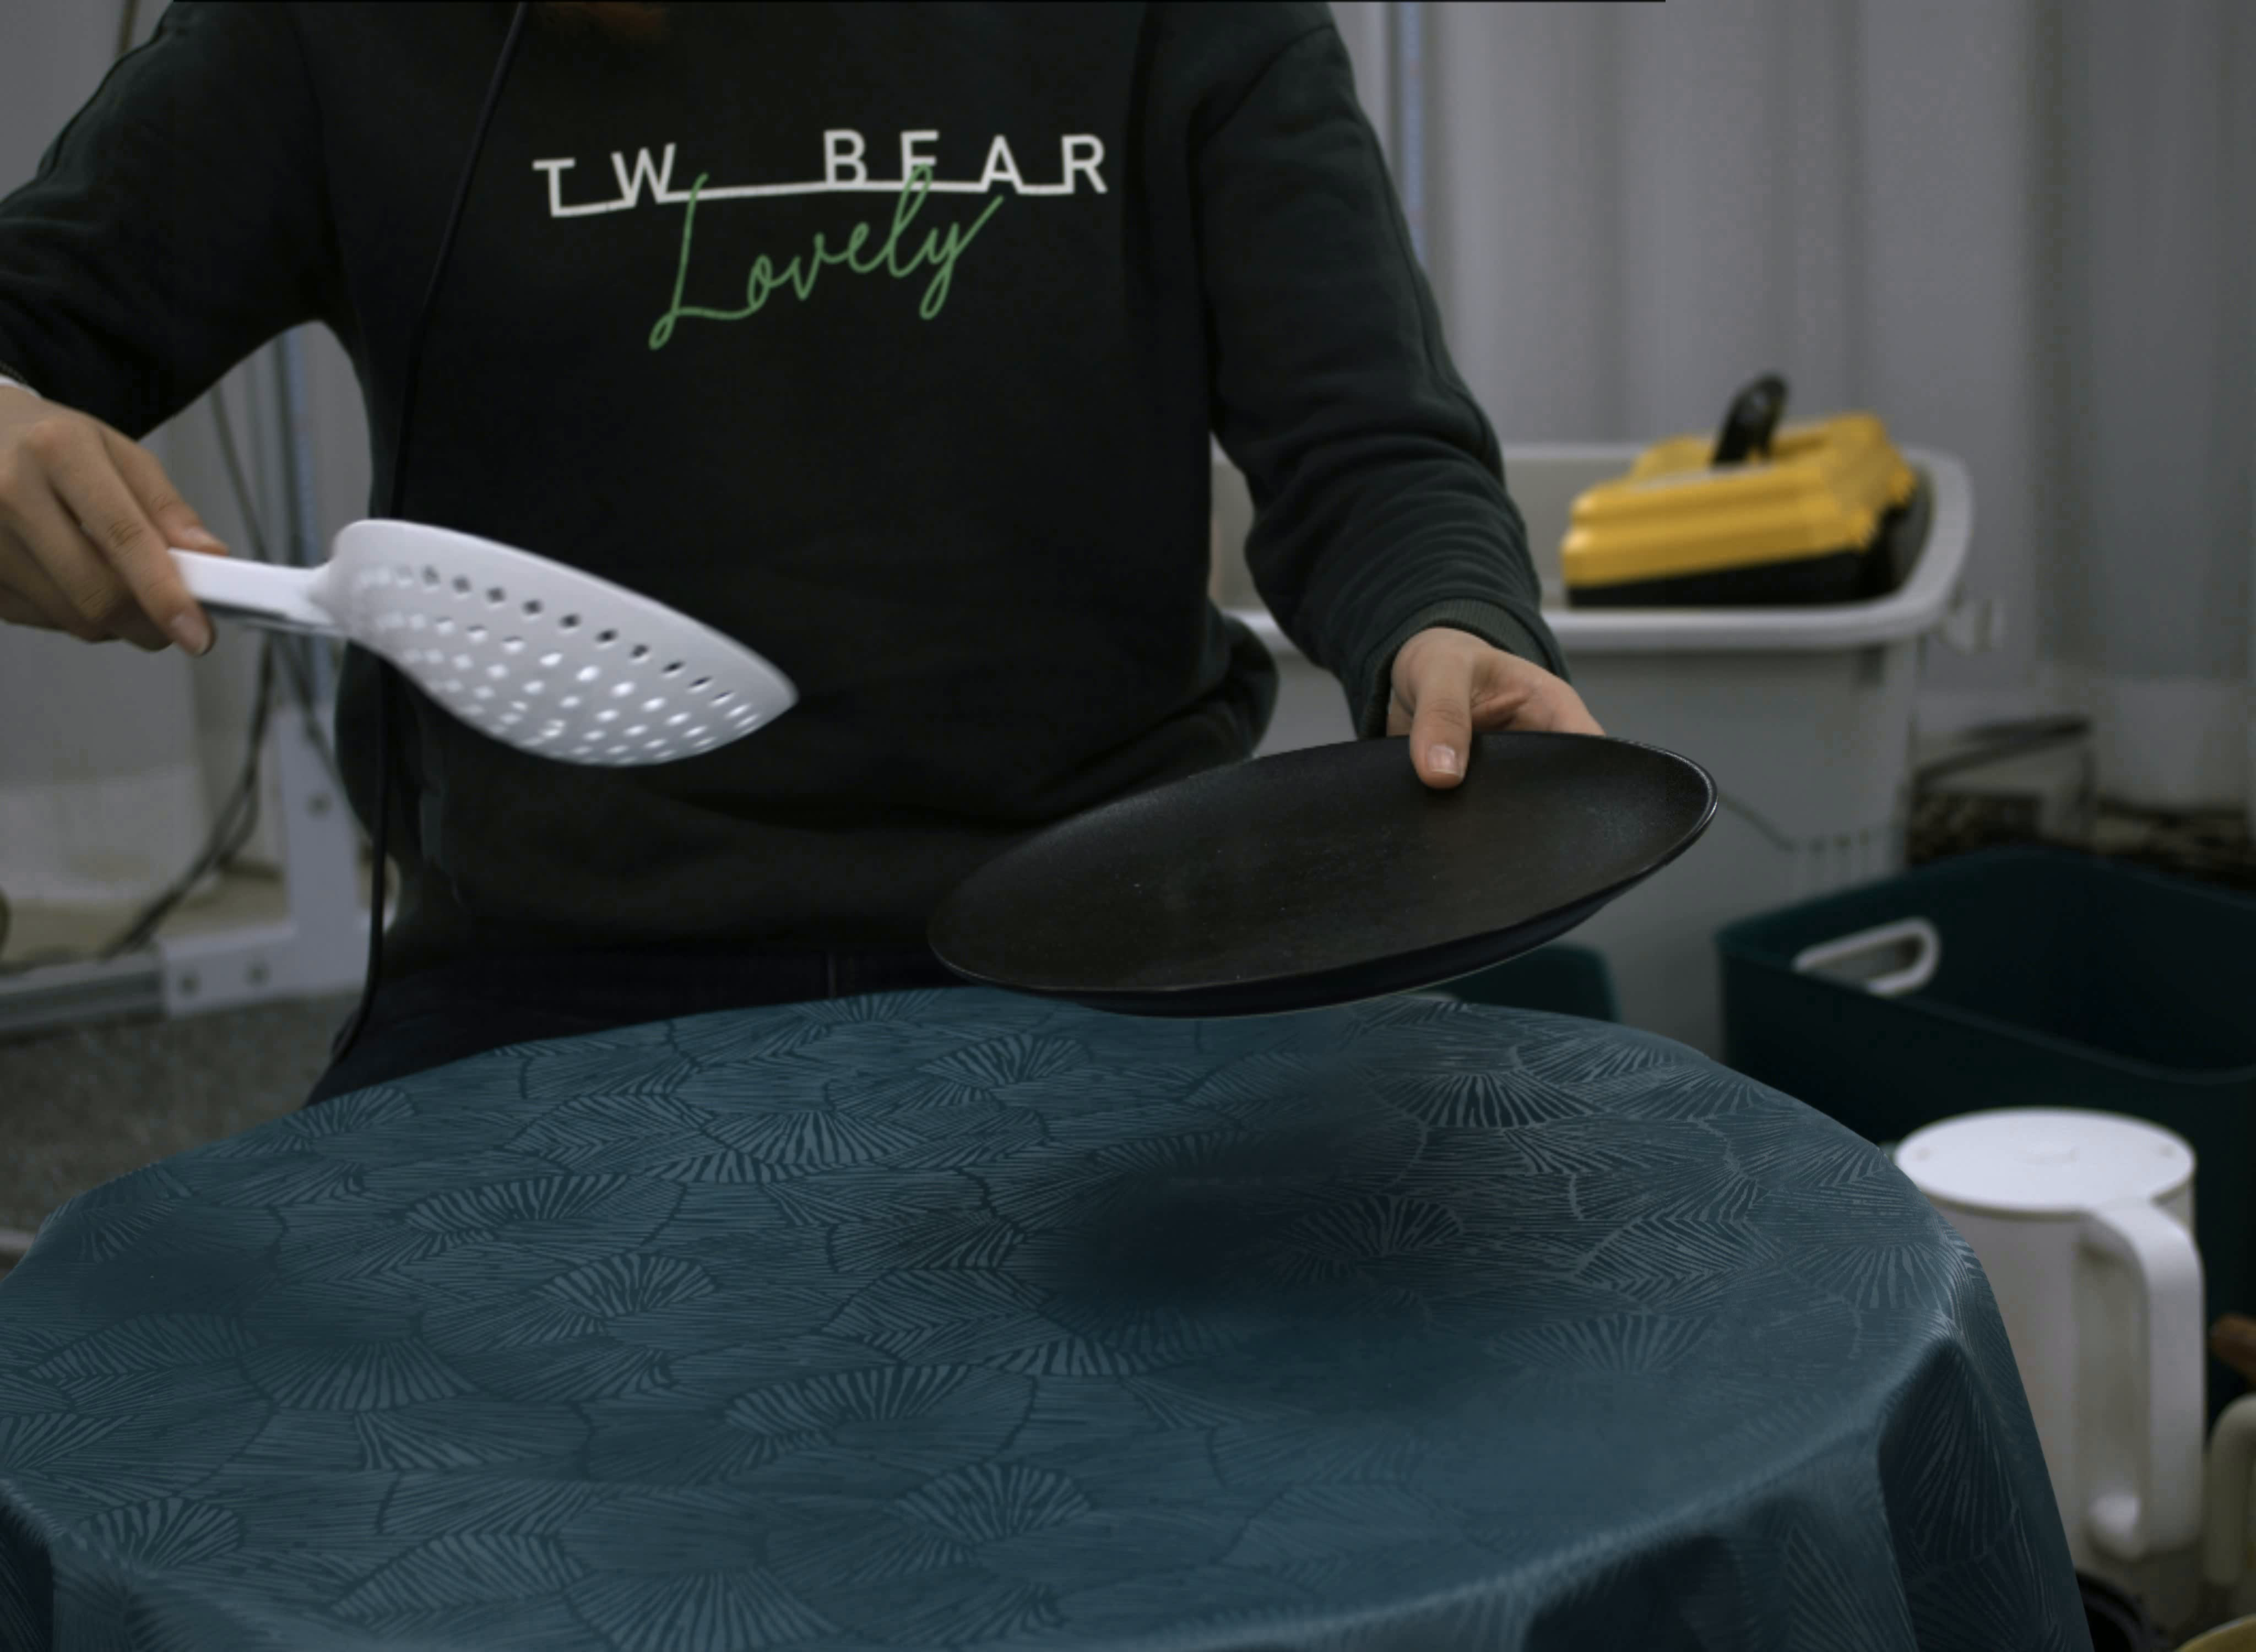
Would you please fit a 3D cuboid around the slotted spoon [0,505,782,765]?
[{"bbox_3d":[-0.238,-0.066,1.638,0.352,0.046,0.134,16,-12,48],"label":"slotted spoon"}]

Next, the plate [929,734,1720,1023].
[{"bbox_3d":[0.060,0.018,1.660,0.243,0.023,0.246,-10,15,2],"label":"plate"}]
